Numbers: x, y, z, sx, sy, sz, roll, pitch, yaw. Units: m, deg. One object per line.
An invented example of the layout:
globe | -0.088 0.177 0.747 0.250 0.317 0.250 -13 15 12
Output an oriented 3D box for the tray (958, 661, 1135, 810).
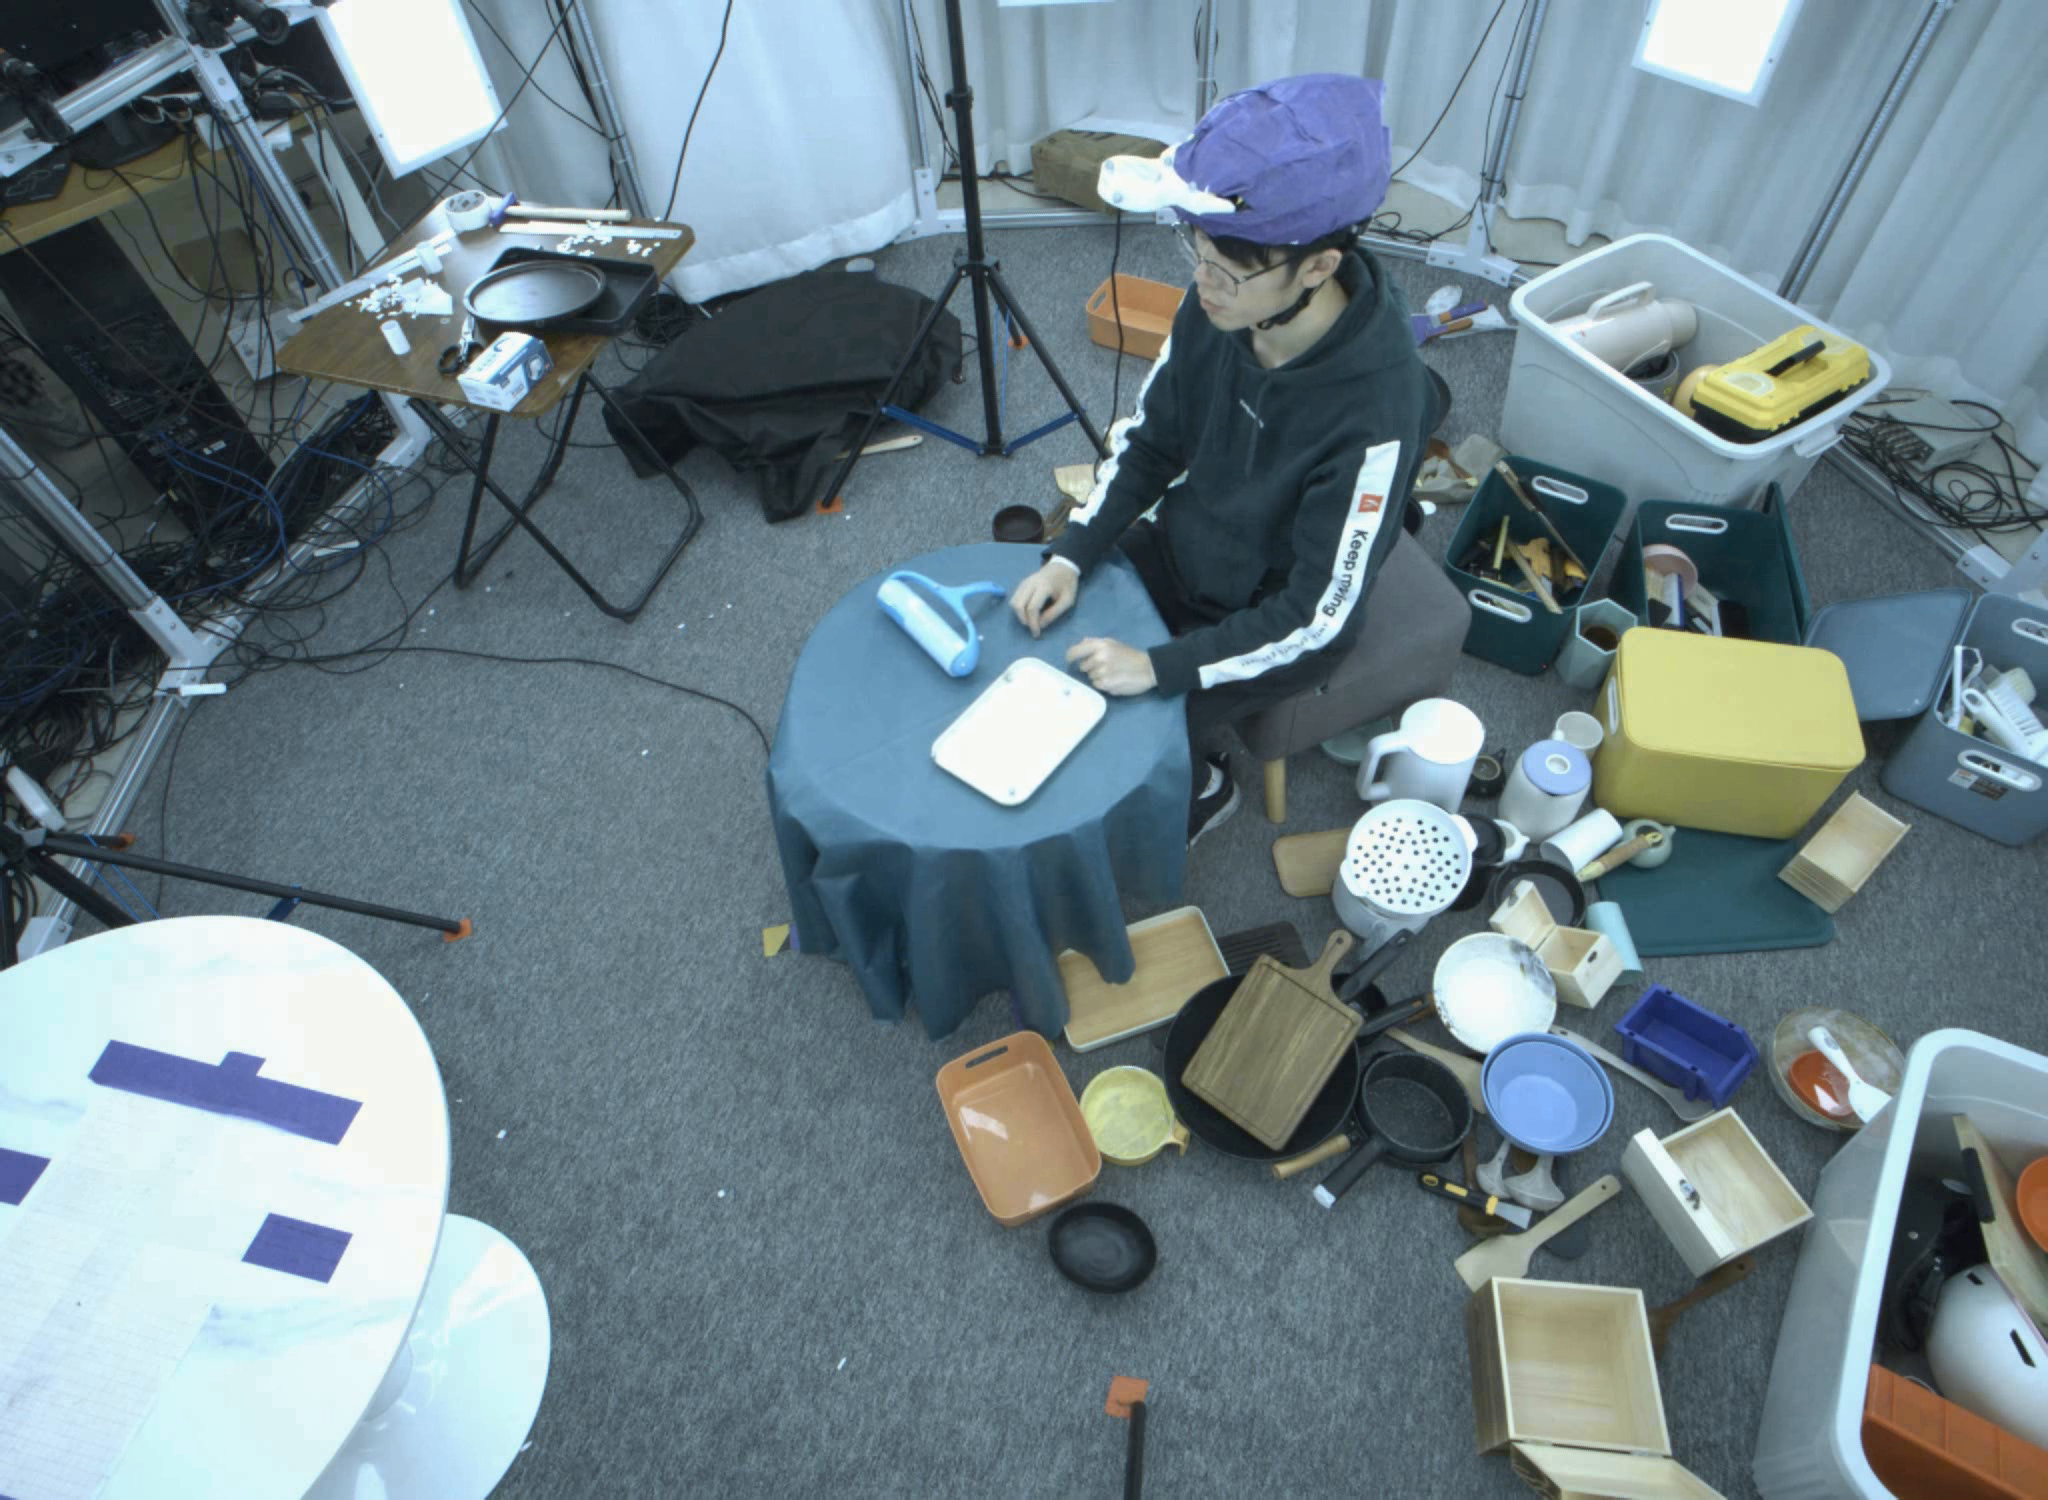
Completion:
tray | 0.034 -0.023 1.787 0.168 0.017 0.241 34 62 22

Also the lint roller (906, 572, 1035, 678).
lint roller | -0.061 -0.221 1.907 0.181 0.069 0.224 -36 59 -20
